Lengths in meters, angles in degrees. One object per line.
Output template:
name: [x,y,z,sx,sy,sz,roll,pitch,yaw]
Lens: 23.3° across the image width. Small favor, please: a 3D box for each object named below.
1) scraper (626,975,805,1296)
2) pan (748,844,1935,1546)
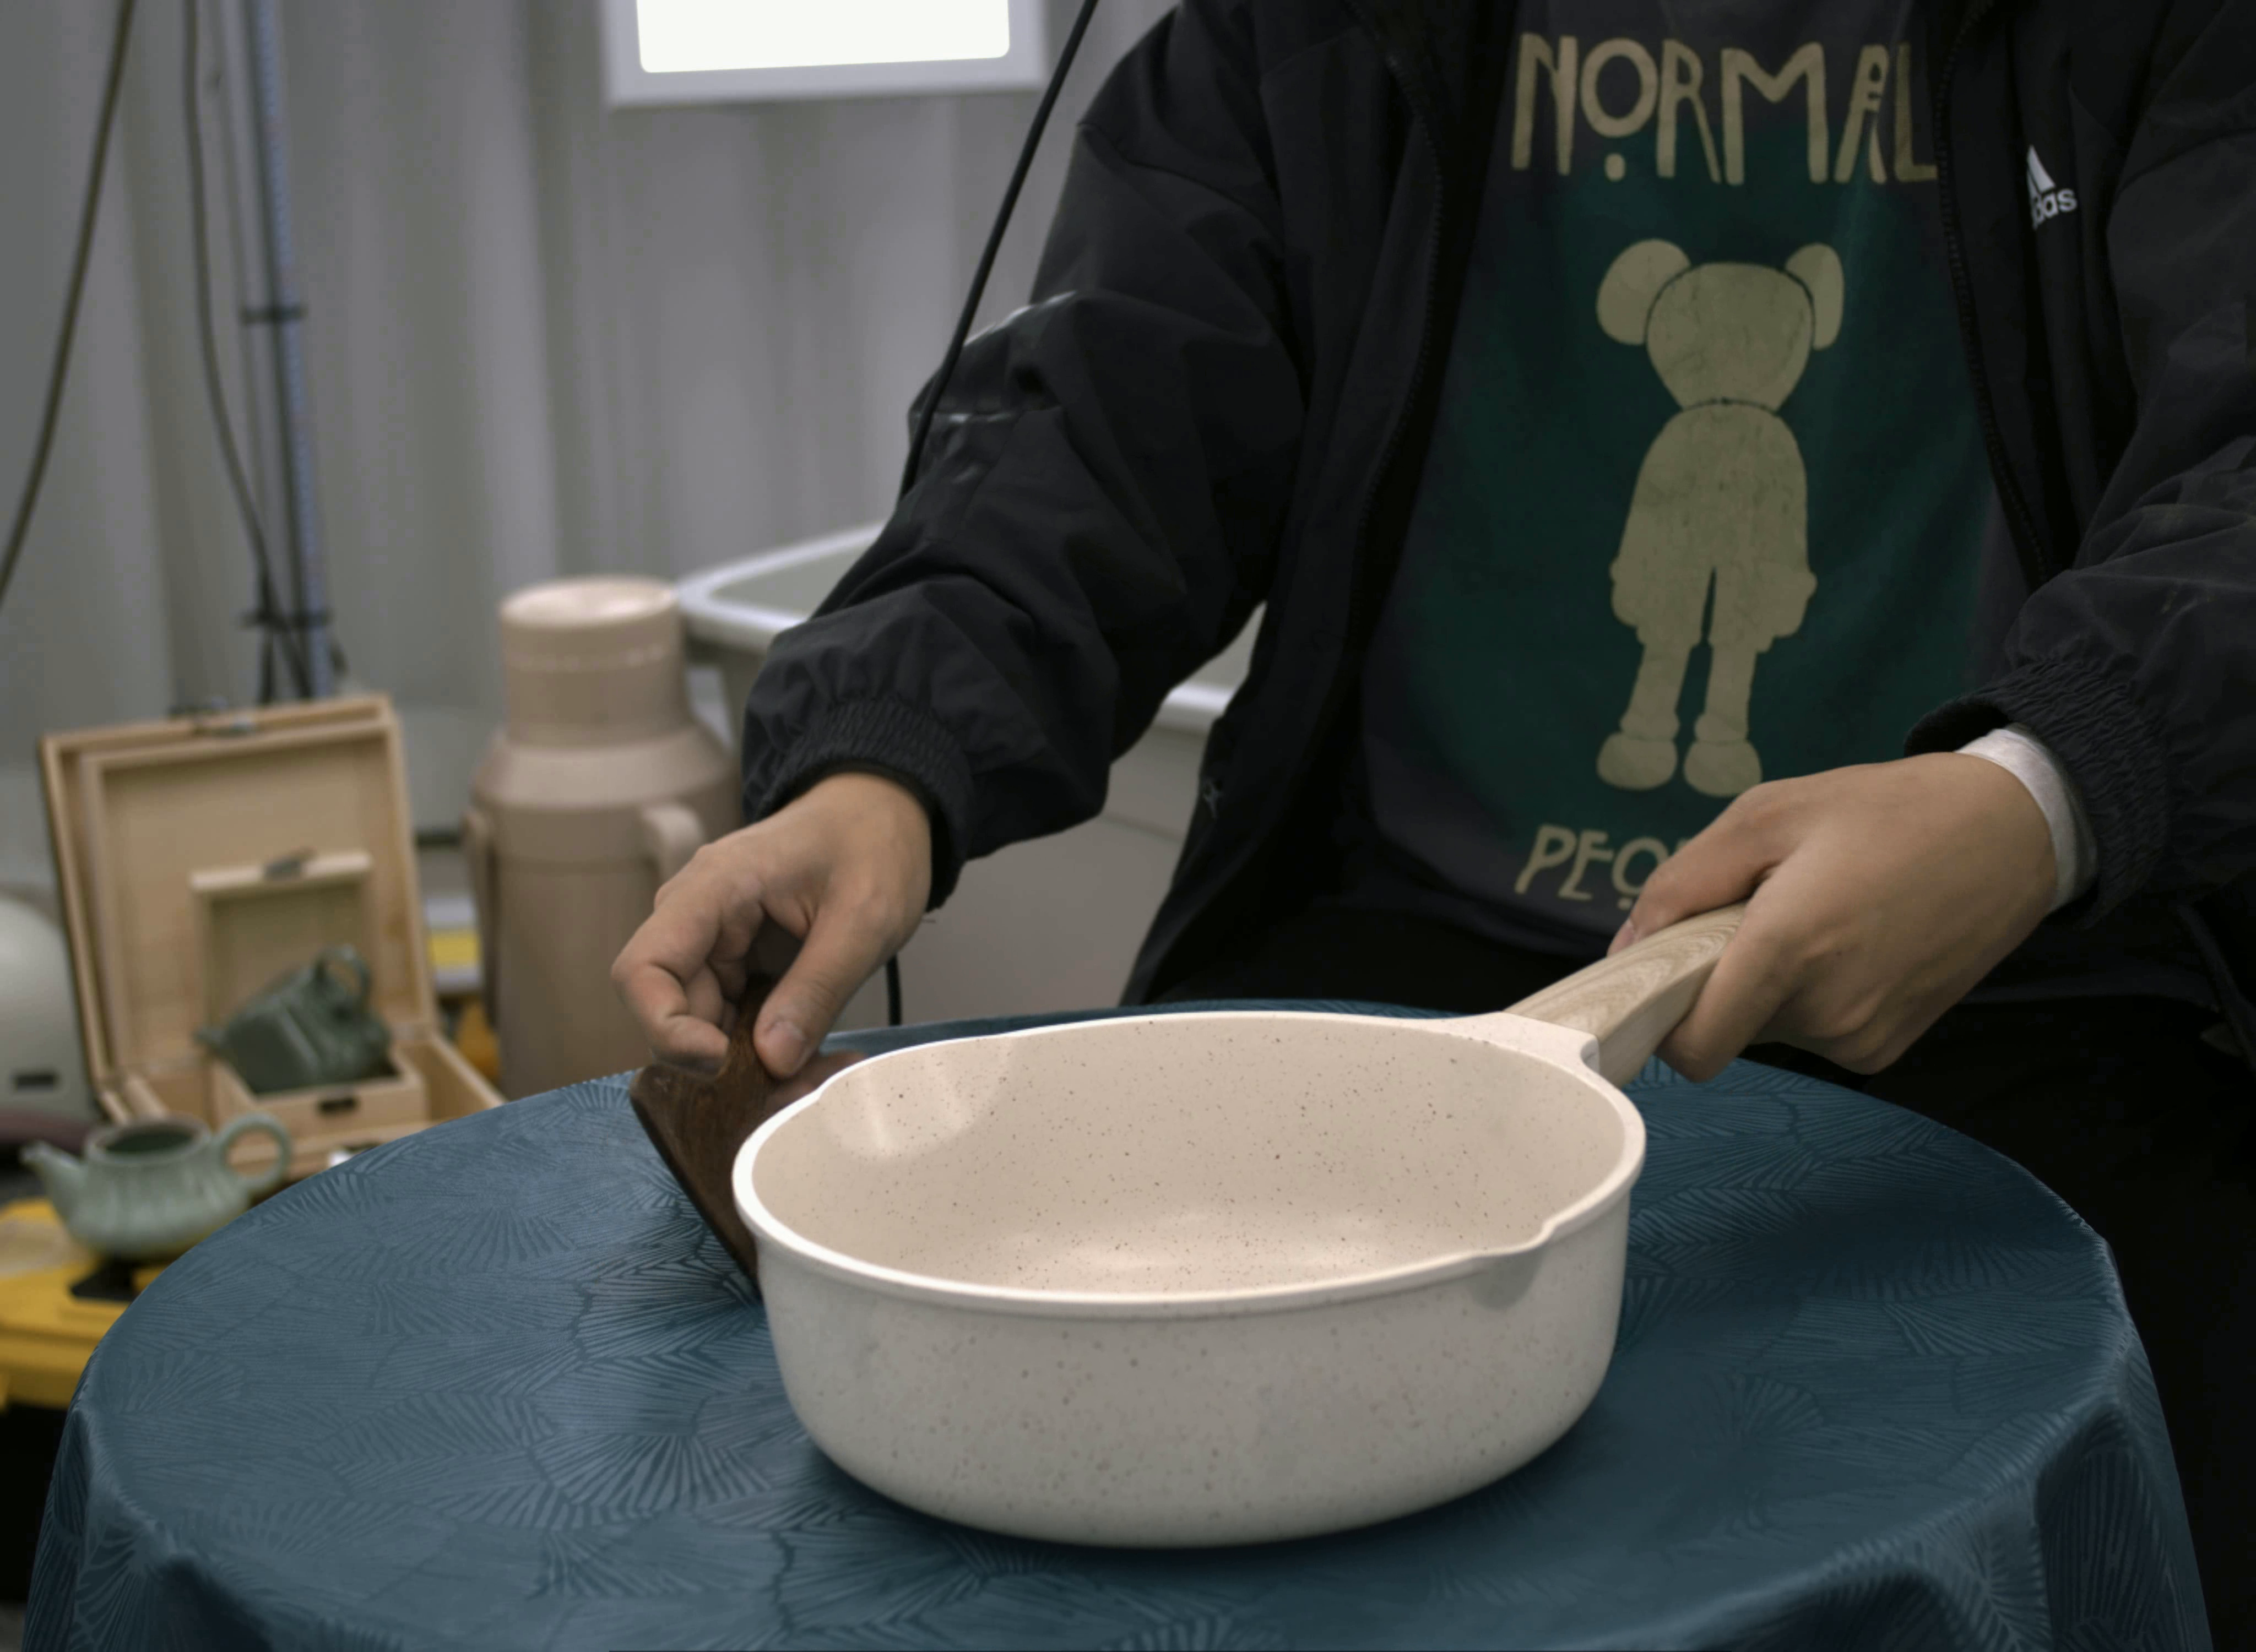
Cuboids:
scraper: [-0.122,0.087,1.719,0.011,0.075,0.212,-33,10,11]
pan: [0.090,0.100,1.561,0.434,0.101,0.265,-16,18,-40]
